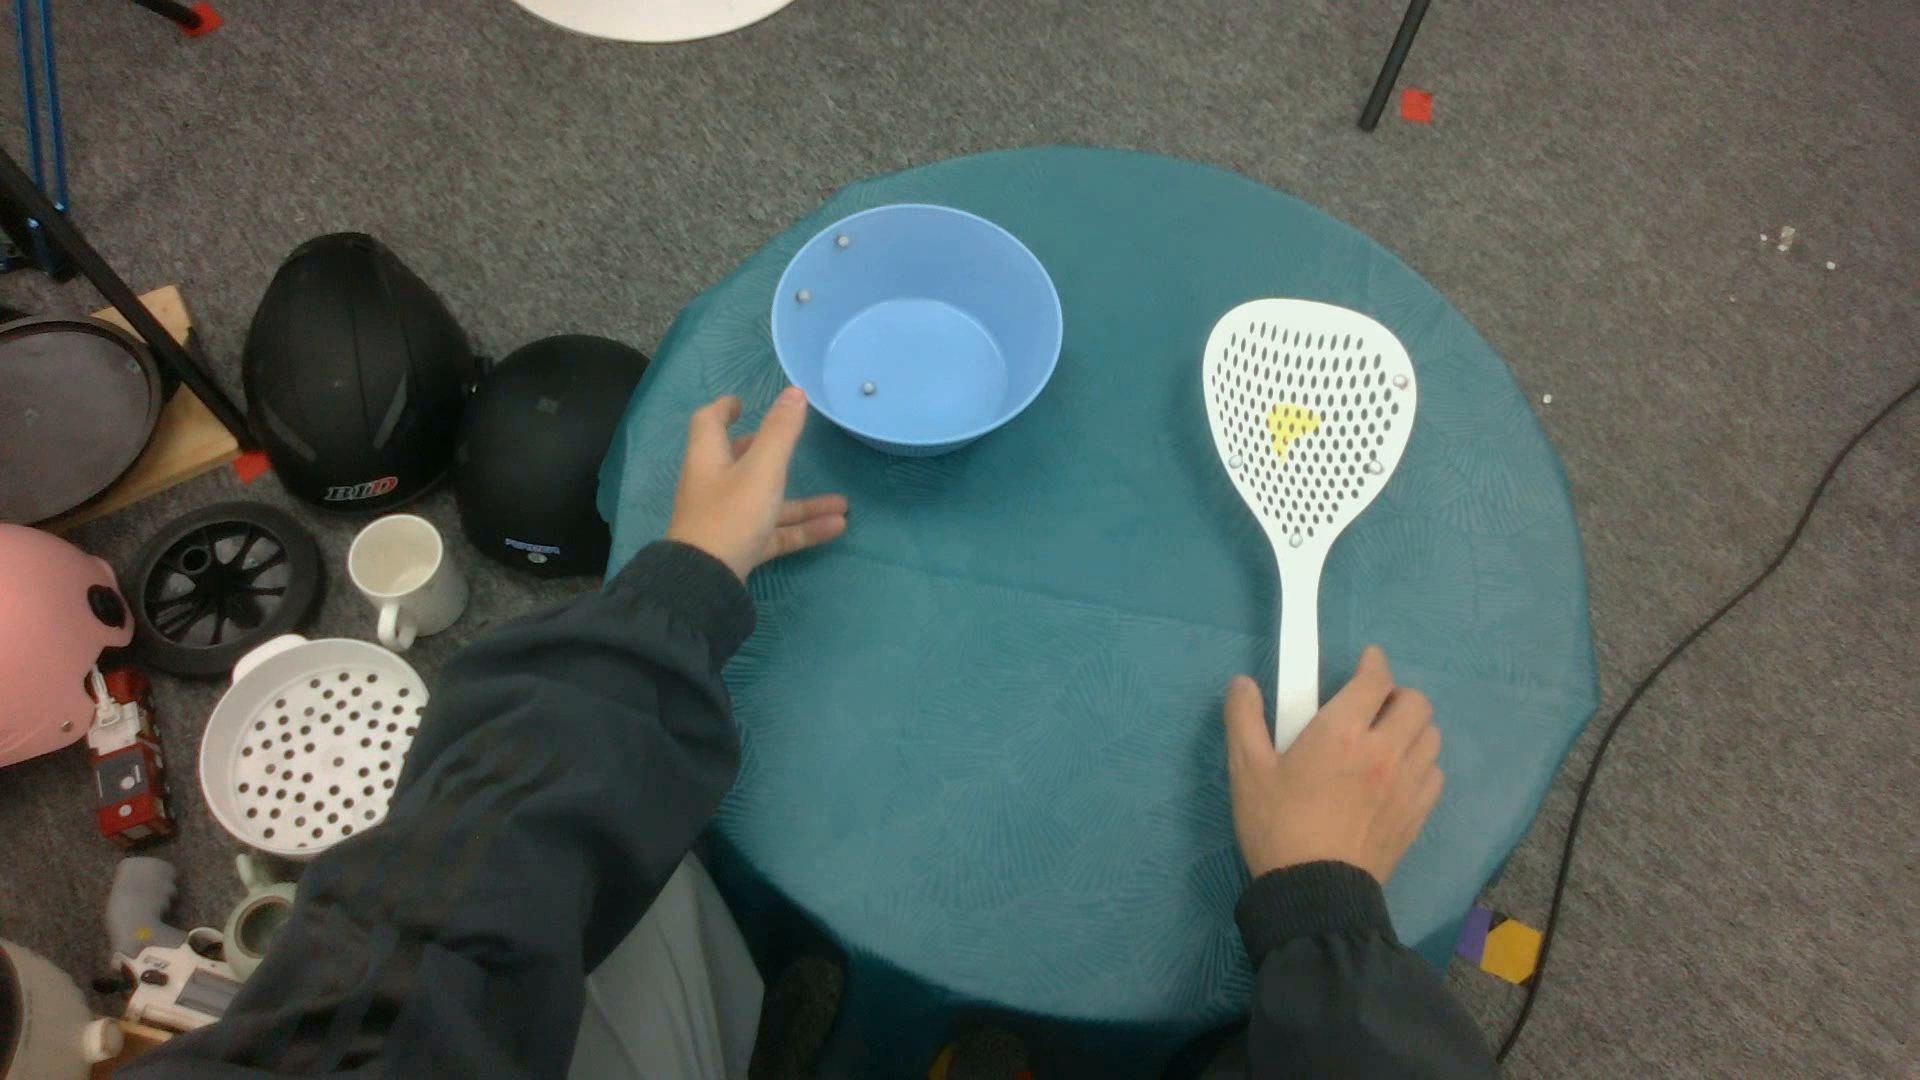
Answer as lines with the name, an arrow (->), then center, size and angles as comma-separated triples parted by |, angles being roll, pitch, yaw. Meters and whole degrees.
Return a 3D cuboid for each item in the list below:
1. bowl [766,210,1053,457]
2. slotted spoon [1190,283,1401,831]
bowl -> -0.031, -0.119, 0.868 | 0.176, 0.070, 0.177 | 1, 63, -2
slotted spoon -> 0.202, -0.002, 0.836 | 0.137, 0.050, 0.349 | 7, 63, -4
